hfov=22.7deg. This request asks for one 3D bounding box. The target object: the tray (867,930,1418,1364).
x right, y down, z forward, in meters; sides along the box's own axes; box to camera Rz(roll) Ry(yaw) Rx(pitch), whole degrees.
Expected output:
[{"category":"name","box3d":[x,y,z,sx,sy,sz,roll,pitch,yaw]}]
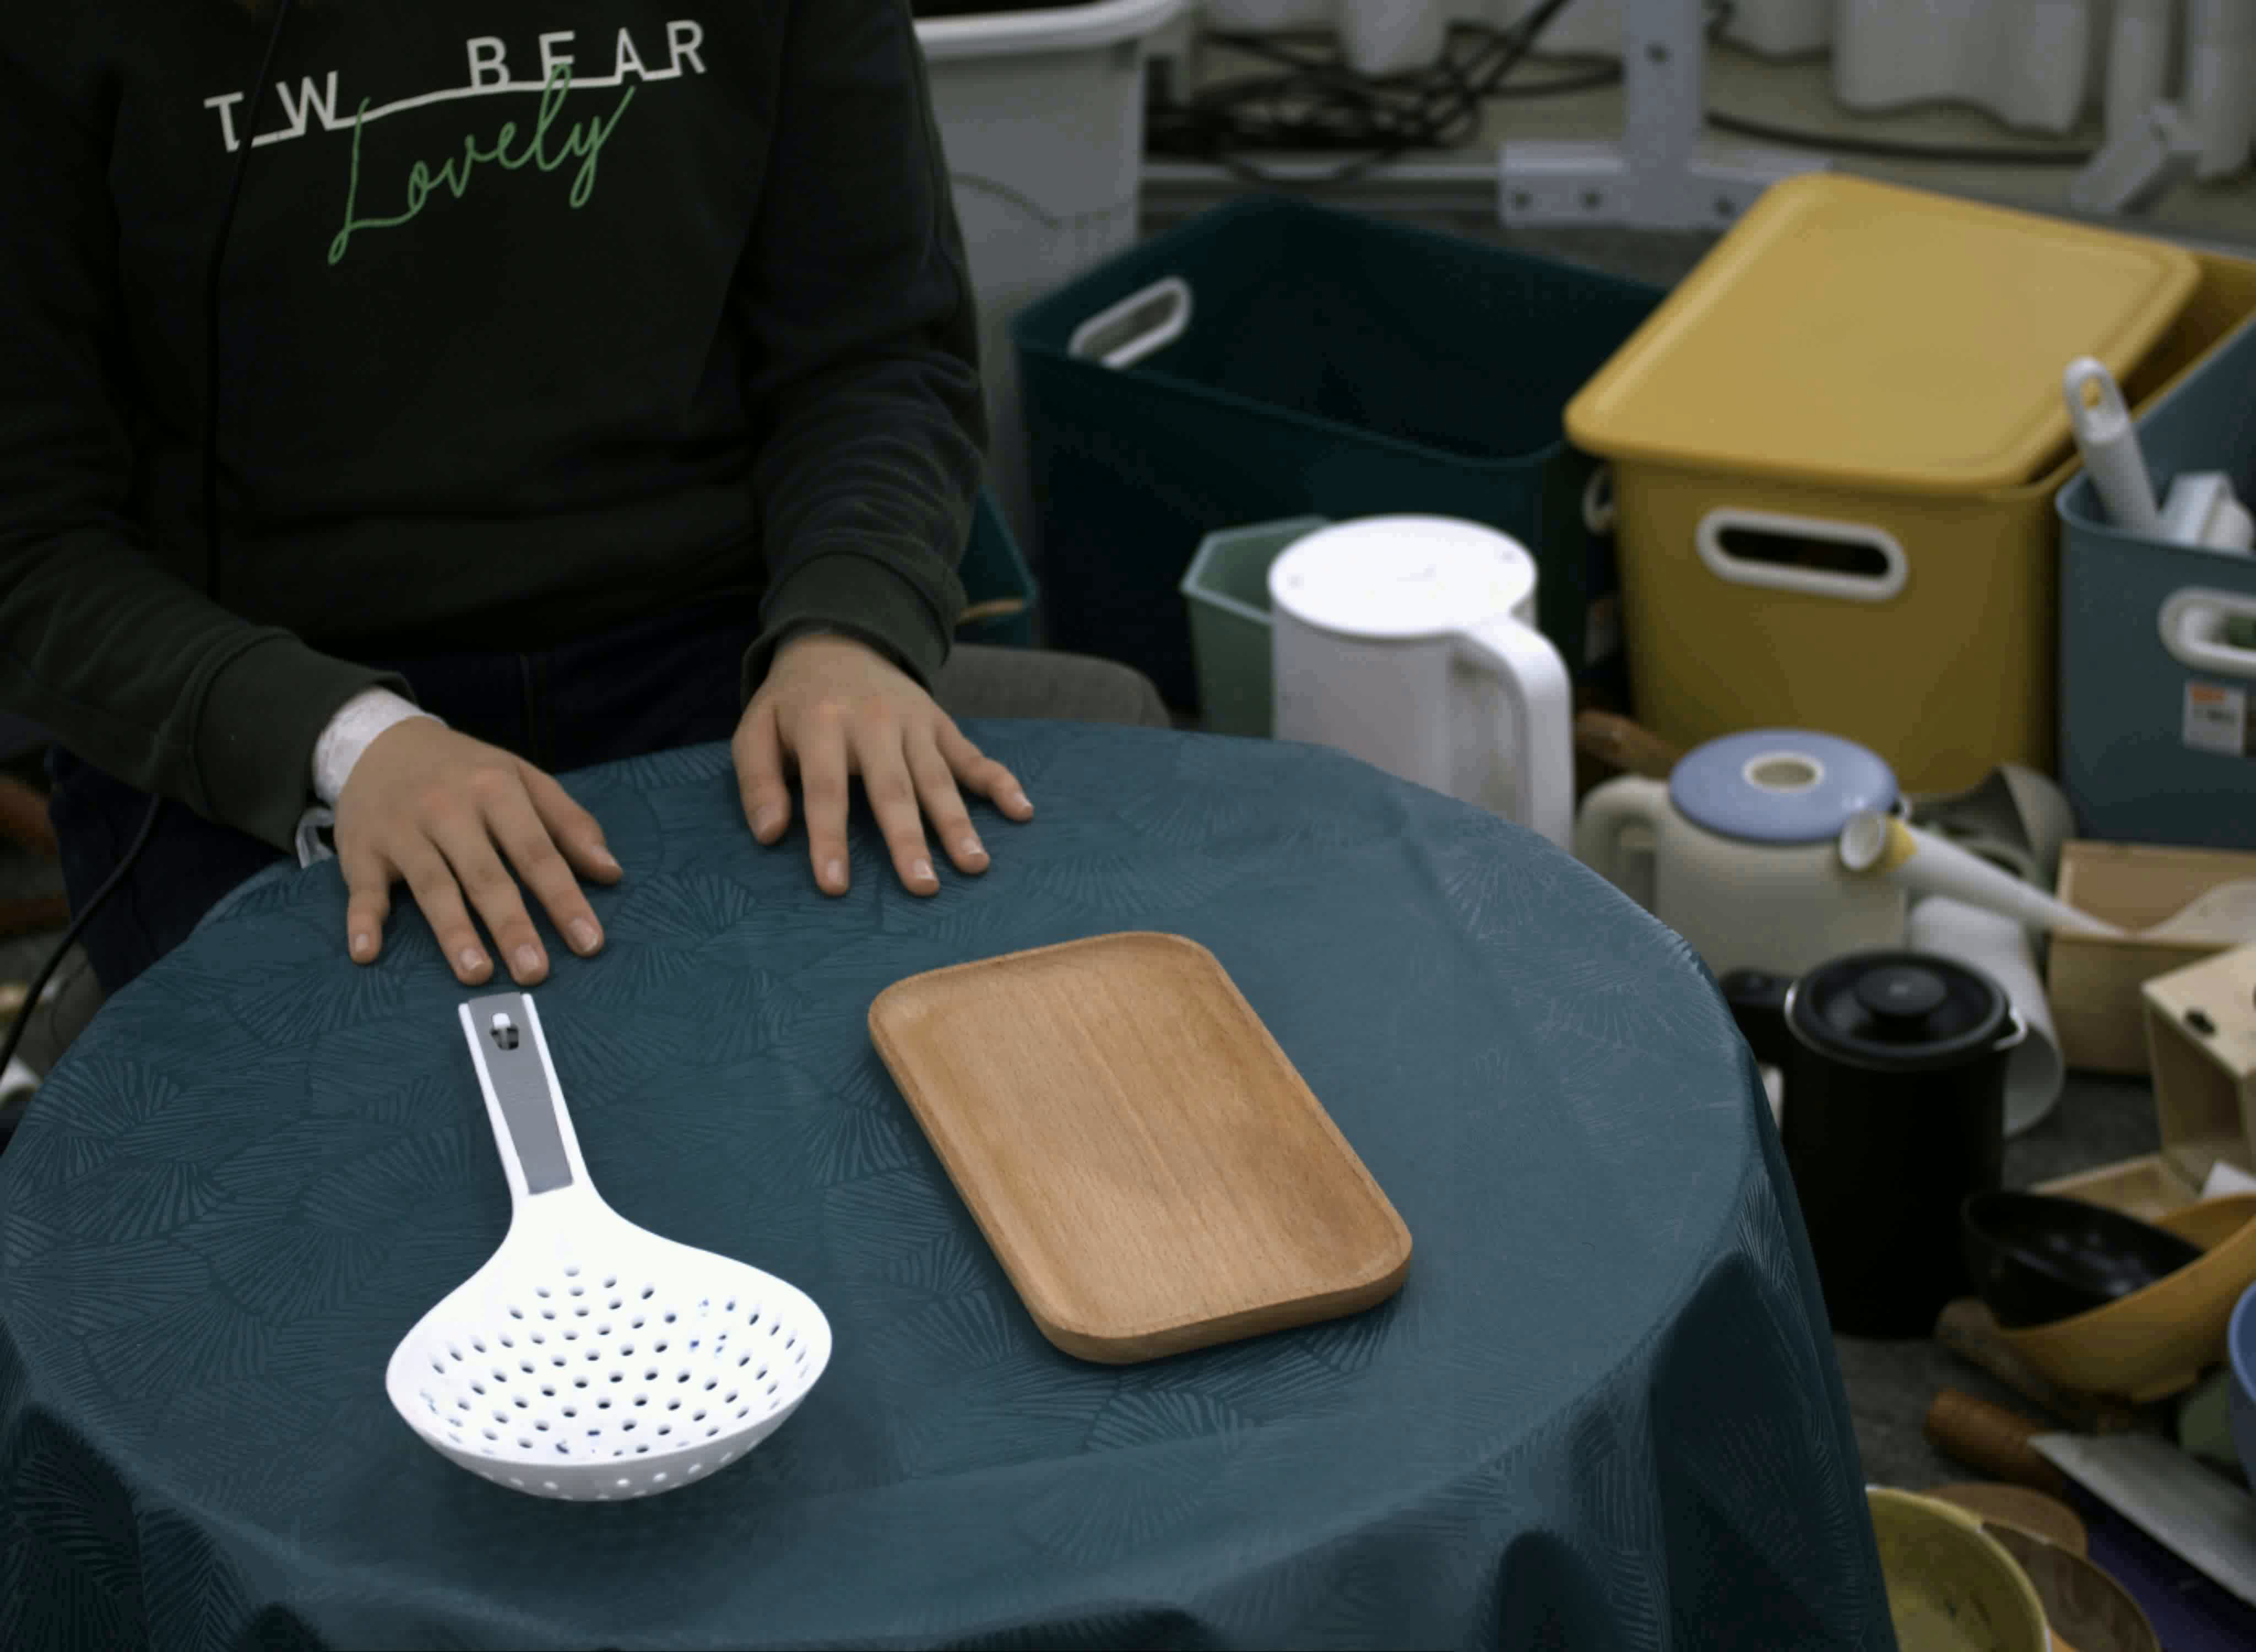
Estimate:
[{"category":"tray","box3d":[0.001,0.104,1.876,0.130,0.022,0.253,-9,27,-15]}]

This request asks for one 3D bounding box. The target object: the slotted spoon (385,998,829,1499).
[{"category":"slotted spoon","box3d":[-0.183,0.130,1.814,0.136,0.045,0.353,-6,26,-11]}]
